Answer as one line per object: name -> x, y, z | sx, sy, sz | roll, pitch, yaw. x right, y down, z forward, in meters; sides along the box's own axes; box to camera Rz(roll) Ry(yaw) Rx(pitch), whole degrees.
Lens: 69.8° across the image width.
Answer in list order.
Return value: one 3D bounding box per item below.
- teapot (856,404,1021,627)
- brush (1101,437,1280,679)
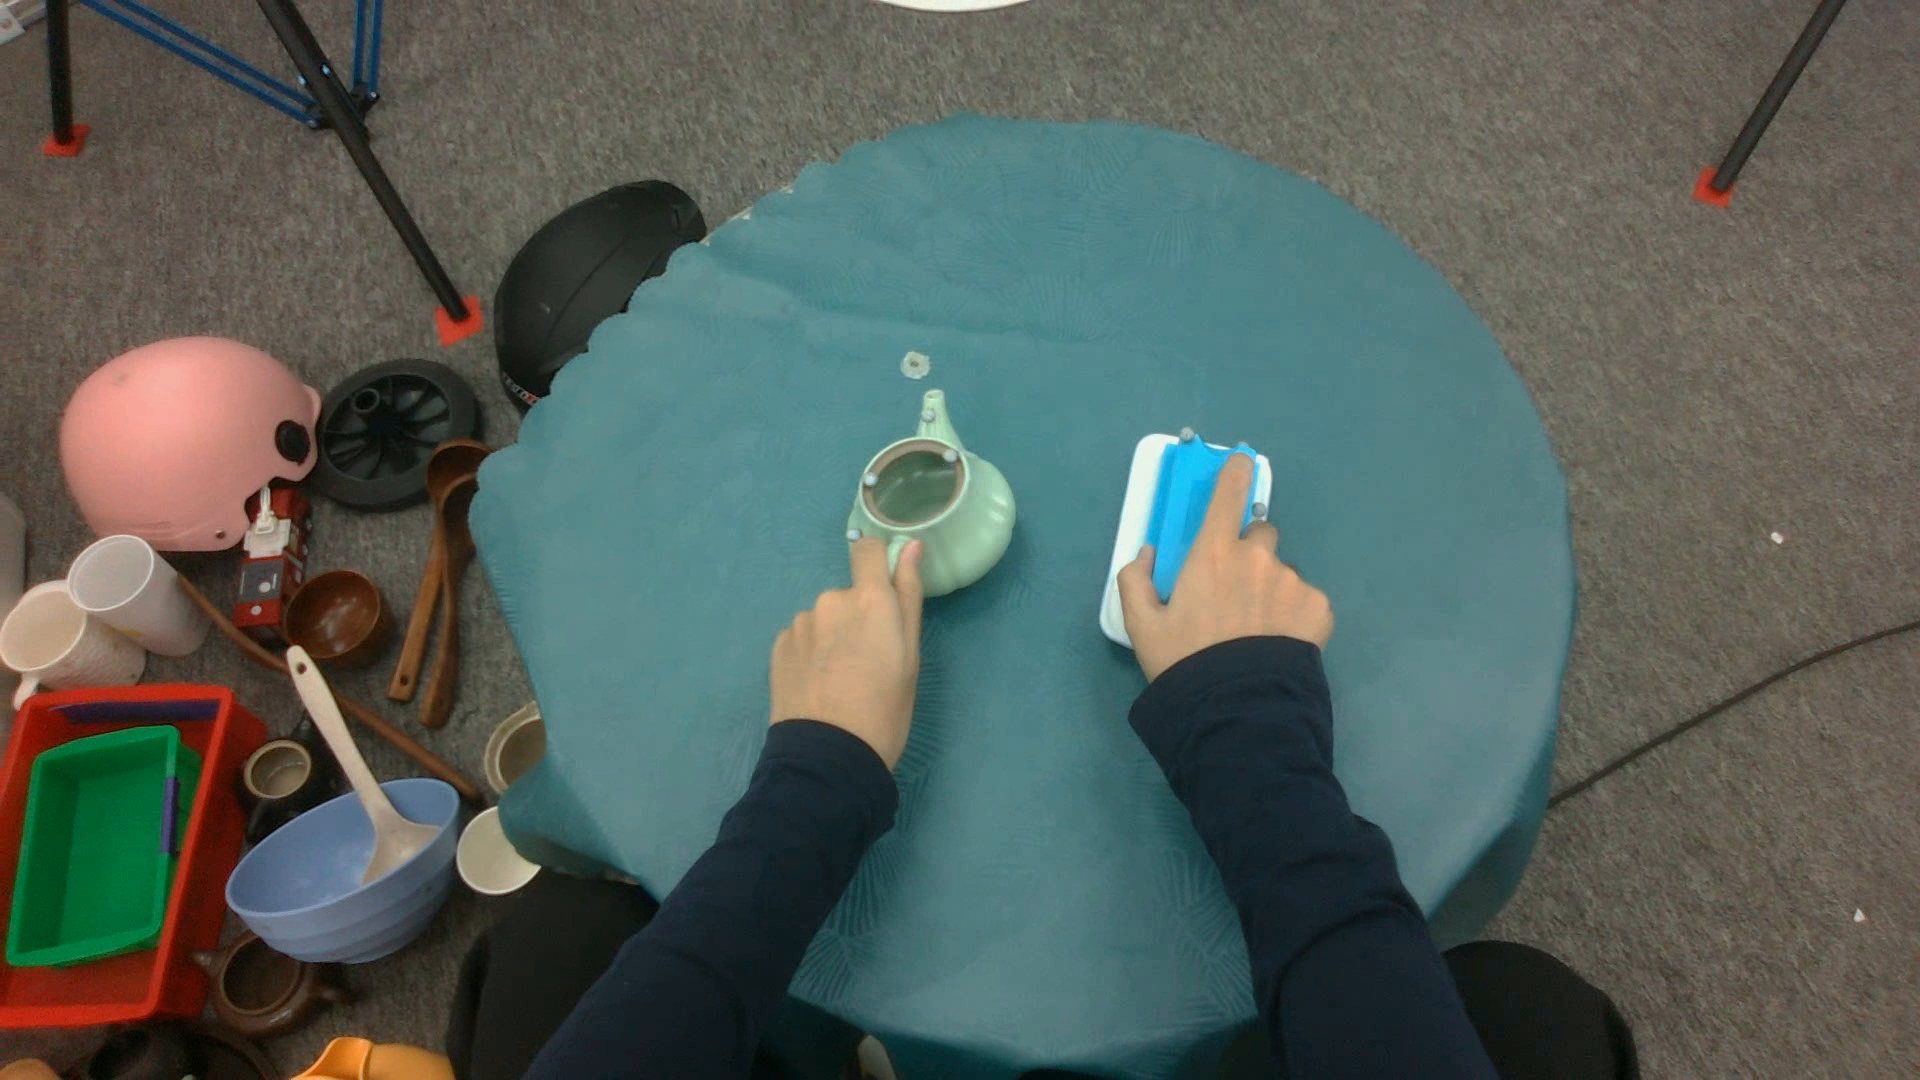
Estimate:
teapot -> -0.018, -0.007, 0.769 | 0.096, 0.061, 0.137 | -2, 53, 20
brush -> 0.131, 0.002, 0.753 | 0.084, 0.055, 0.144 | 15, 57, 4
